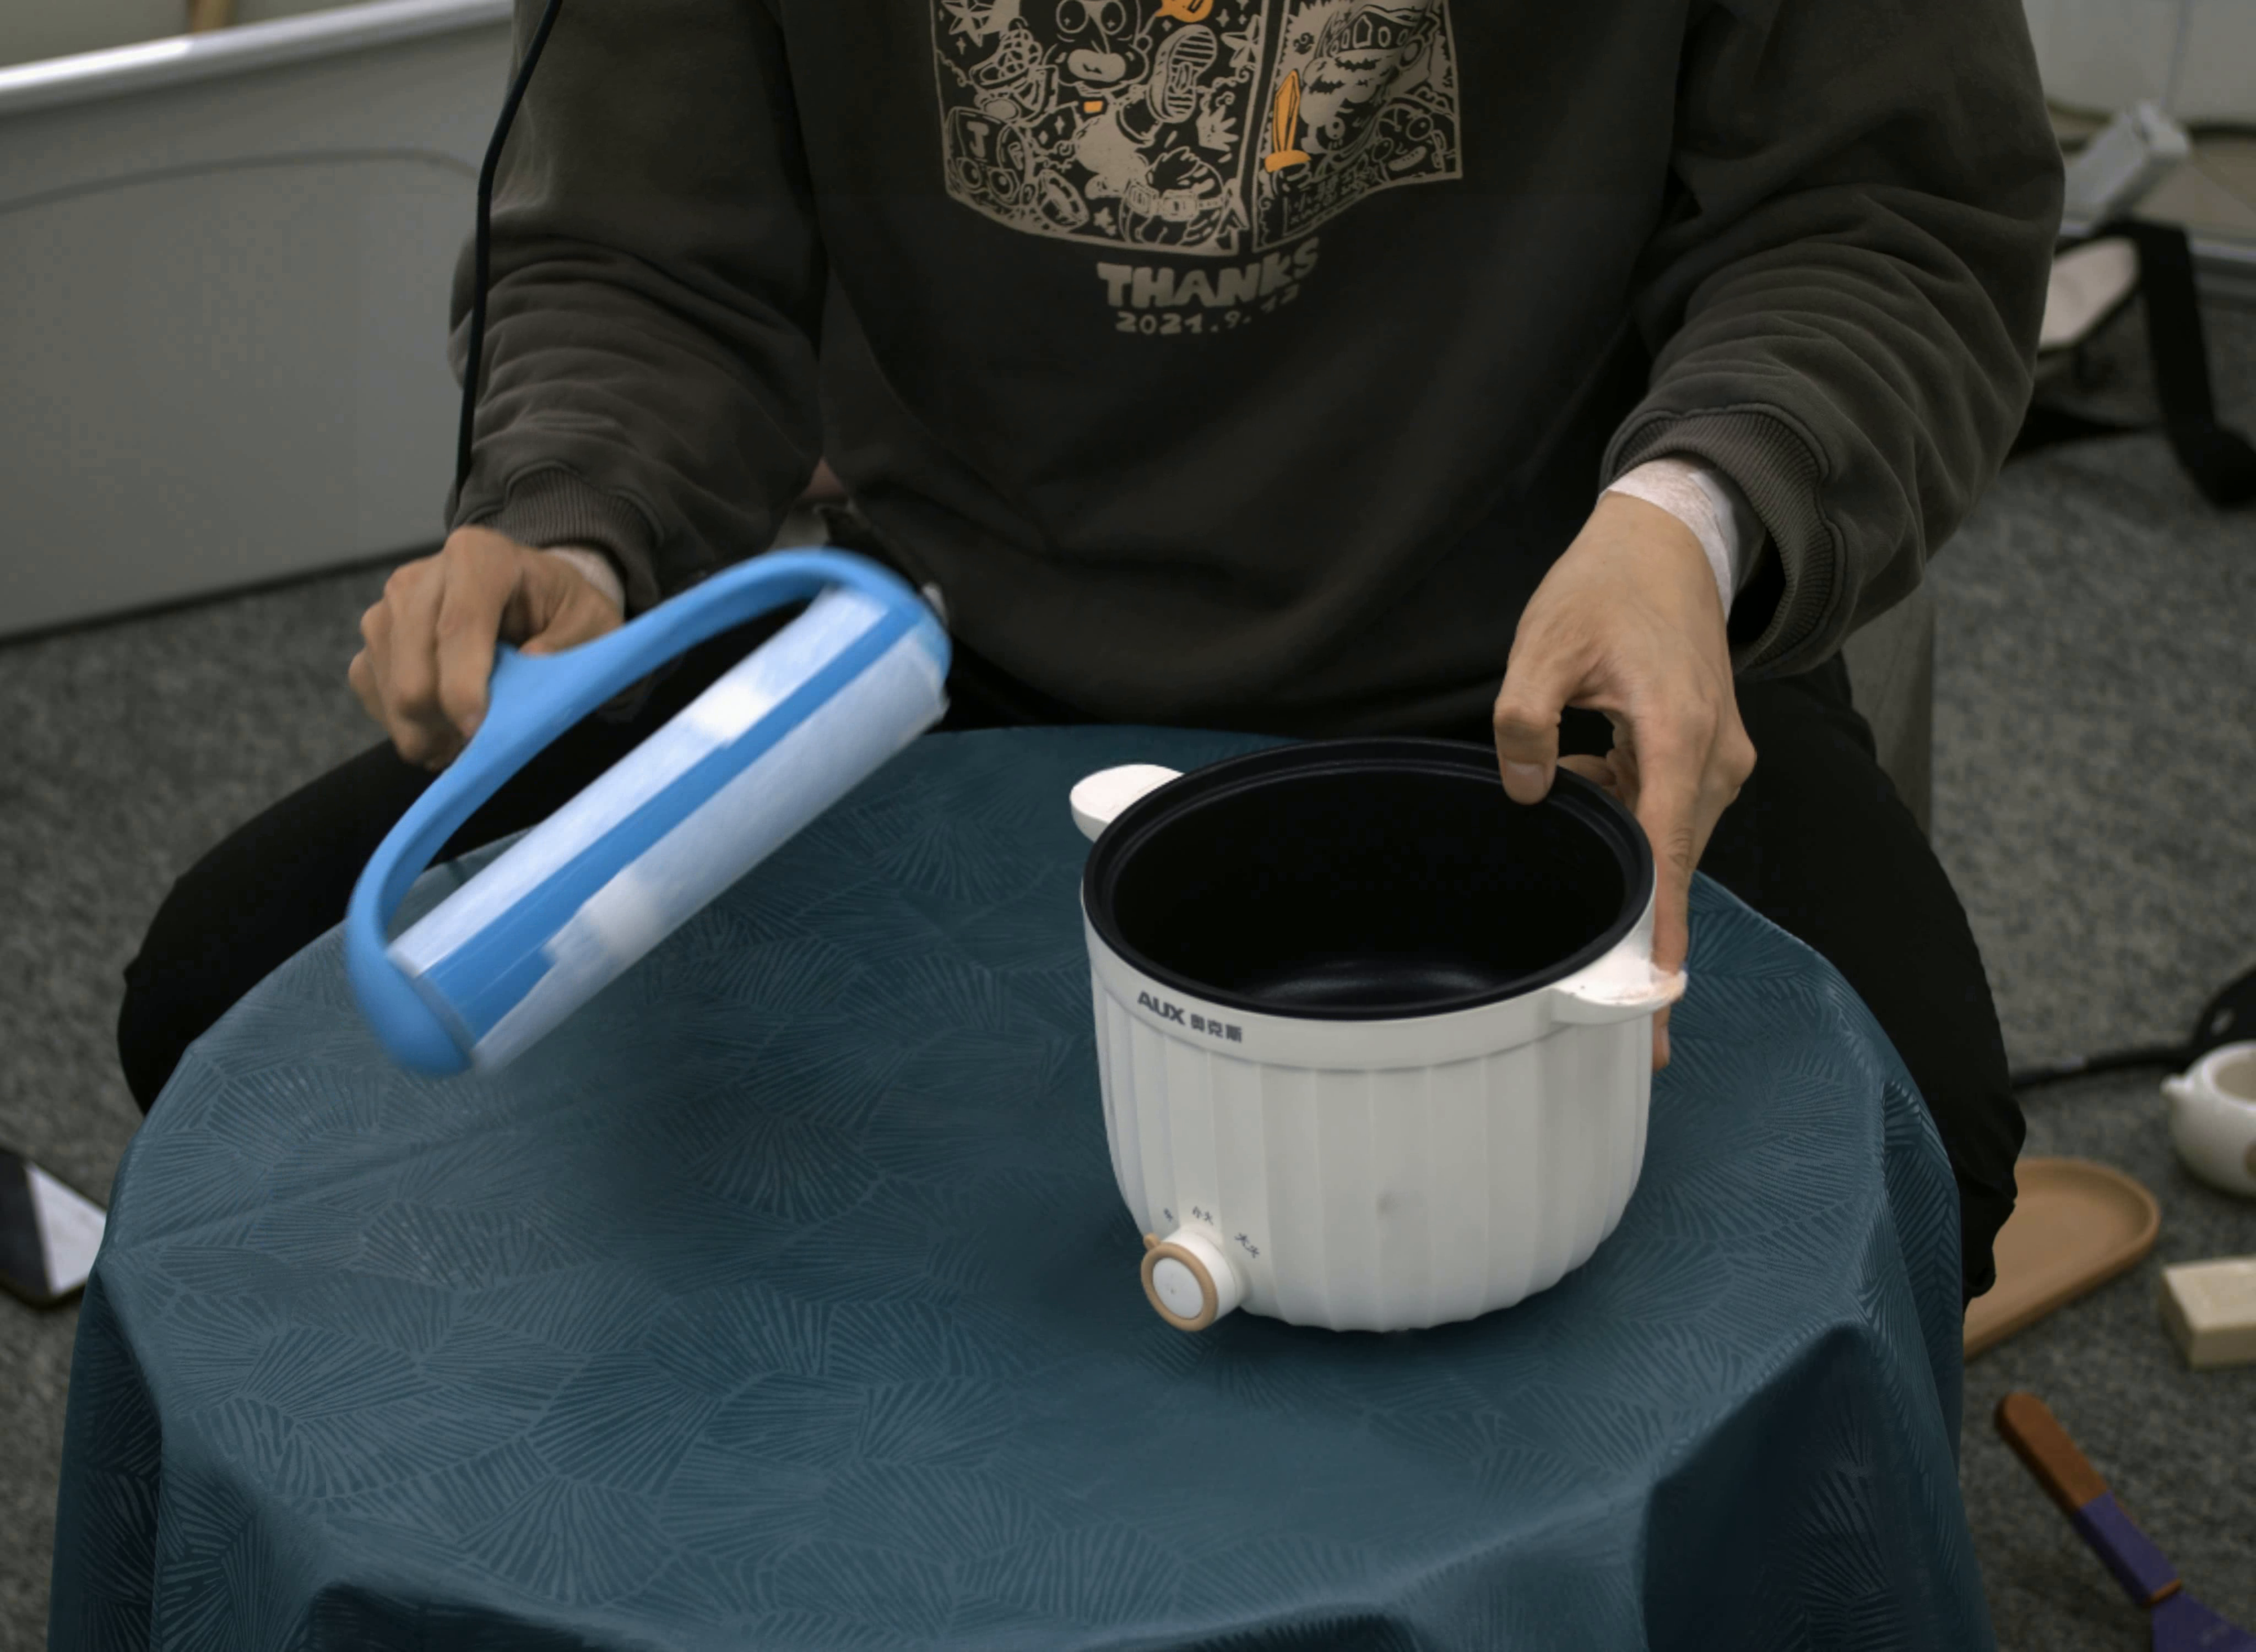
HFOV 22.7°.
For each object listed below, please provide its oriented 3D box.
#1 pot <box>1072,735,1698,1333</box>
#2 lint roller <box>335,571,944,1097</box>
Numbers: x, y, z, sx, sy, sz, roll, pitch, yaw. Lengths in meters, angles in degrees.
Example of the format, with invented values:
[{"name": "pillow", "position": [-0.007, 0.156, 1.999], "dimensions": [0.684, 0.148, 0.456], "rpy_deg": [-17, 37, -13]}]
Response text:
[{"name": "pot", "position": [0.077, 0.073, 1.796], "dimensions": [0.239, 0.141, 0.193], "rpy_deg": [18, 31, 37]}, {"name": "lint roller", "position": [-0.188, -0.019, 1.842], "dimensions": [0.231, 0.067, 0.181], "rpy_deg": [-41, 46, -17]}]
